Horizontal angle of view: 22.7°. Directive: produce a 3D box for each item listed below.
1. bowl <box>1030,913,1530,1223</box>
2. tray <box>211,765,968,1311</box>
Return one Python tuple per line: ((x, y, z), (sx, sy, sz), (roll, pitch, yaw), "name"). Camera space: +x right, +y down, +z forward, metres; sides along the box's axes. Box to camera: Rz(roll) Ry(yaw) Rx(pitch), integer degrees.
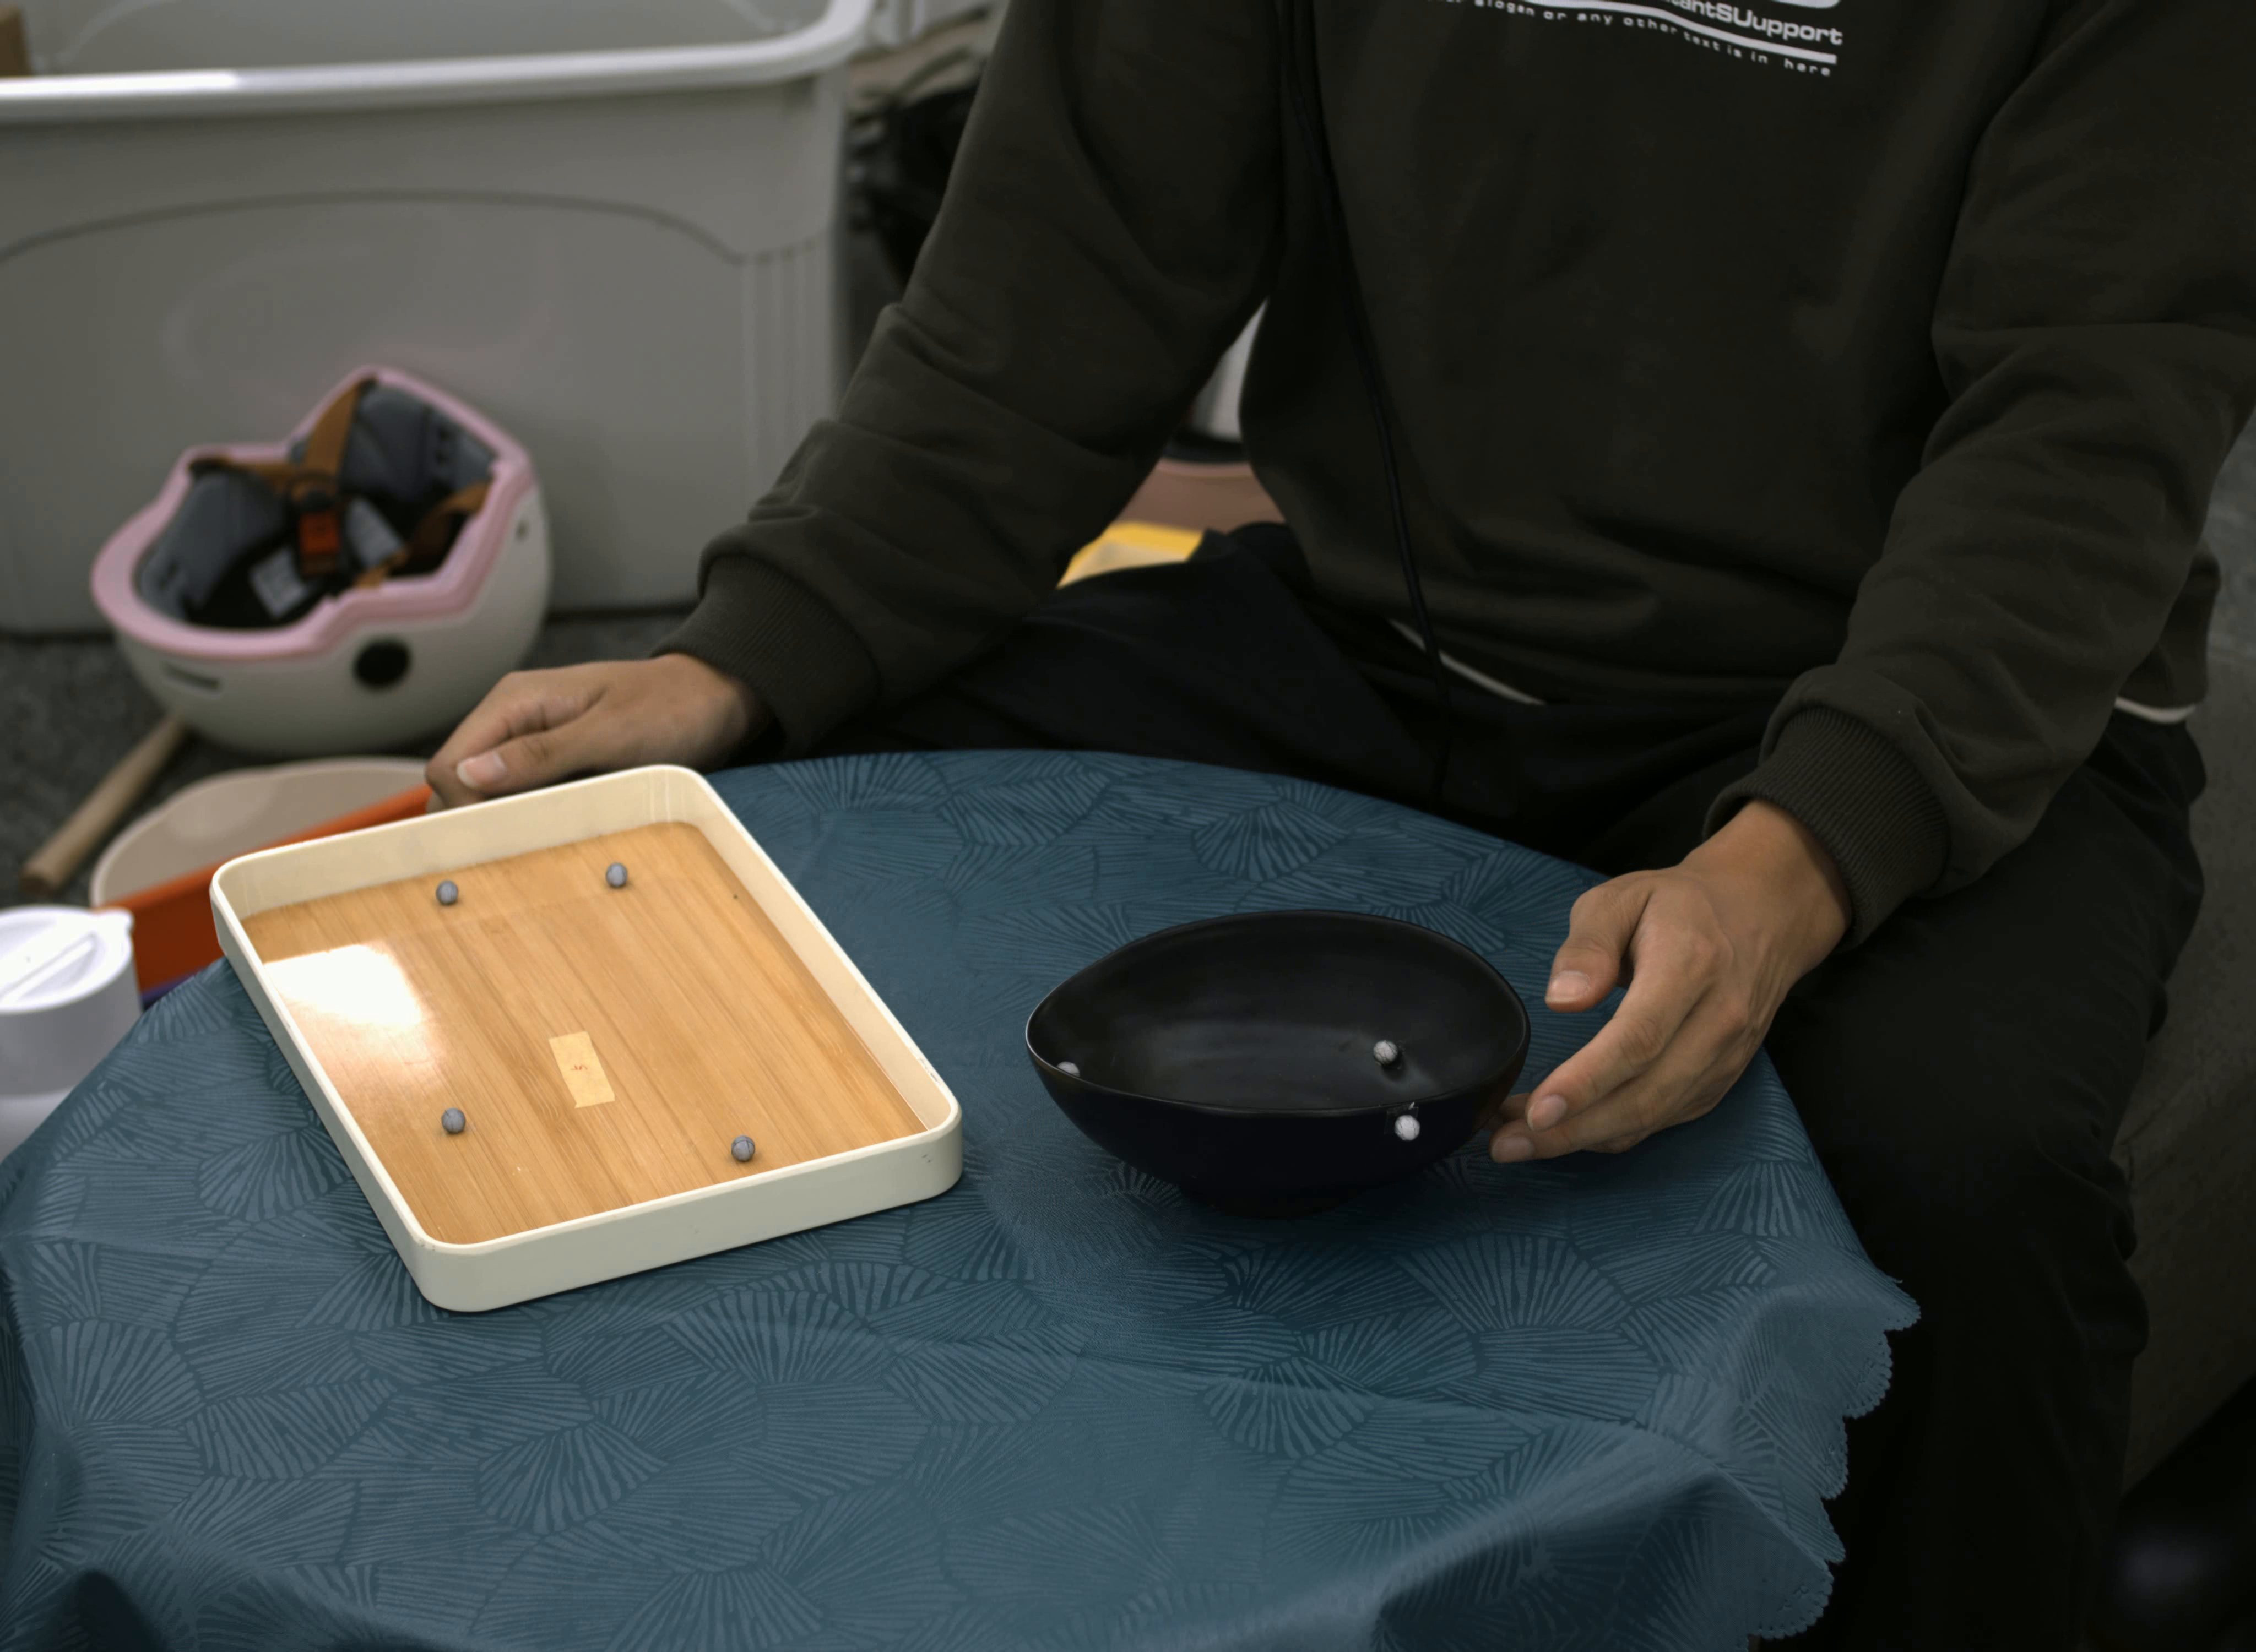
((0.049, 0.088, 1.860), (0.169, 0.066, 0.139), (3, 26, 15), "bowl")
((-0.192, 0.068, 1.955), (0.192, 0.027, 0.302), (-13, 29, -19), "tray")
